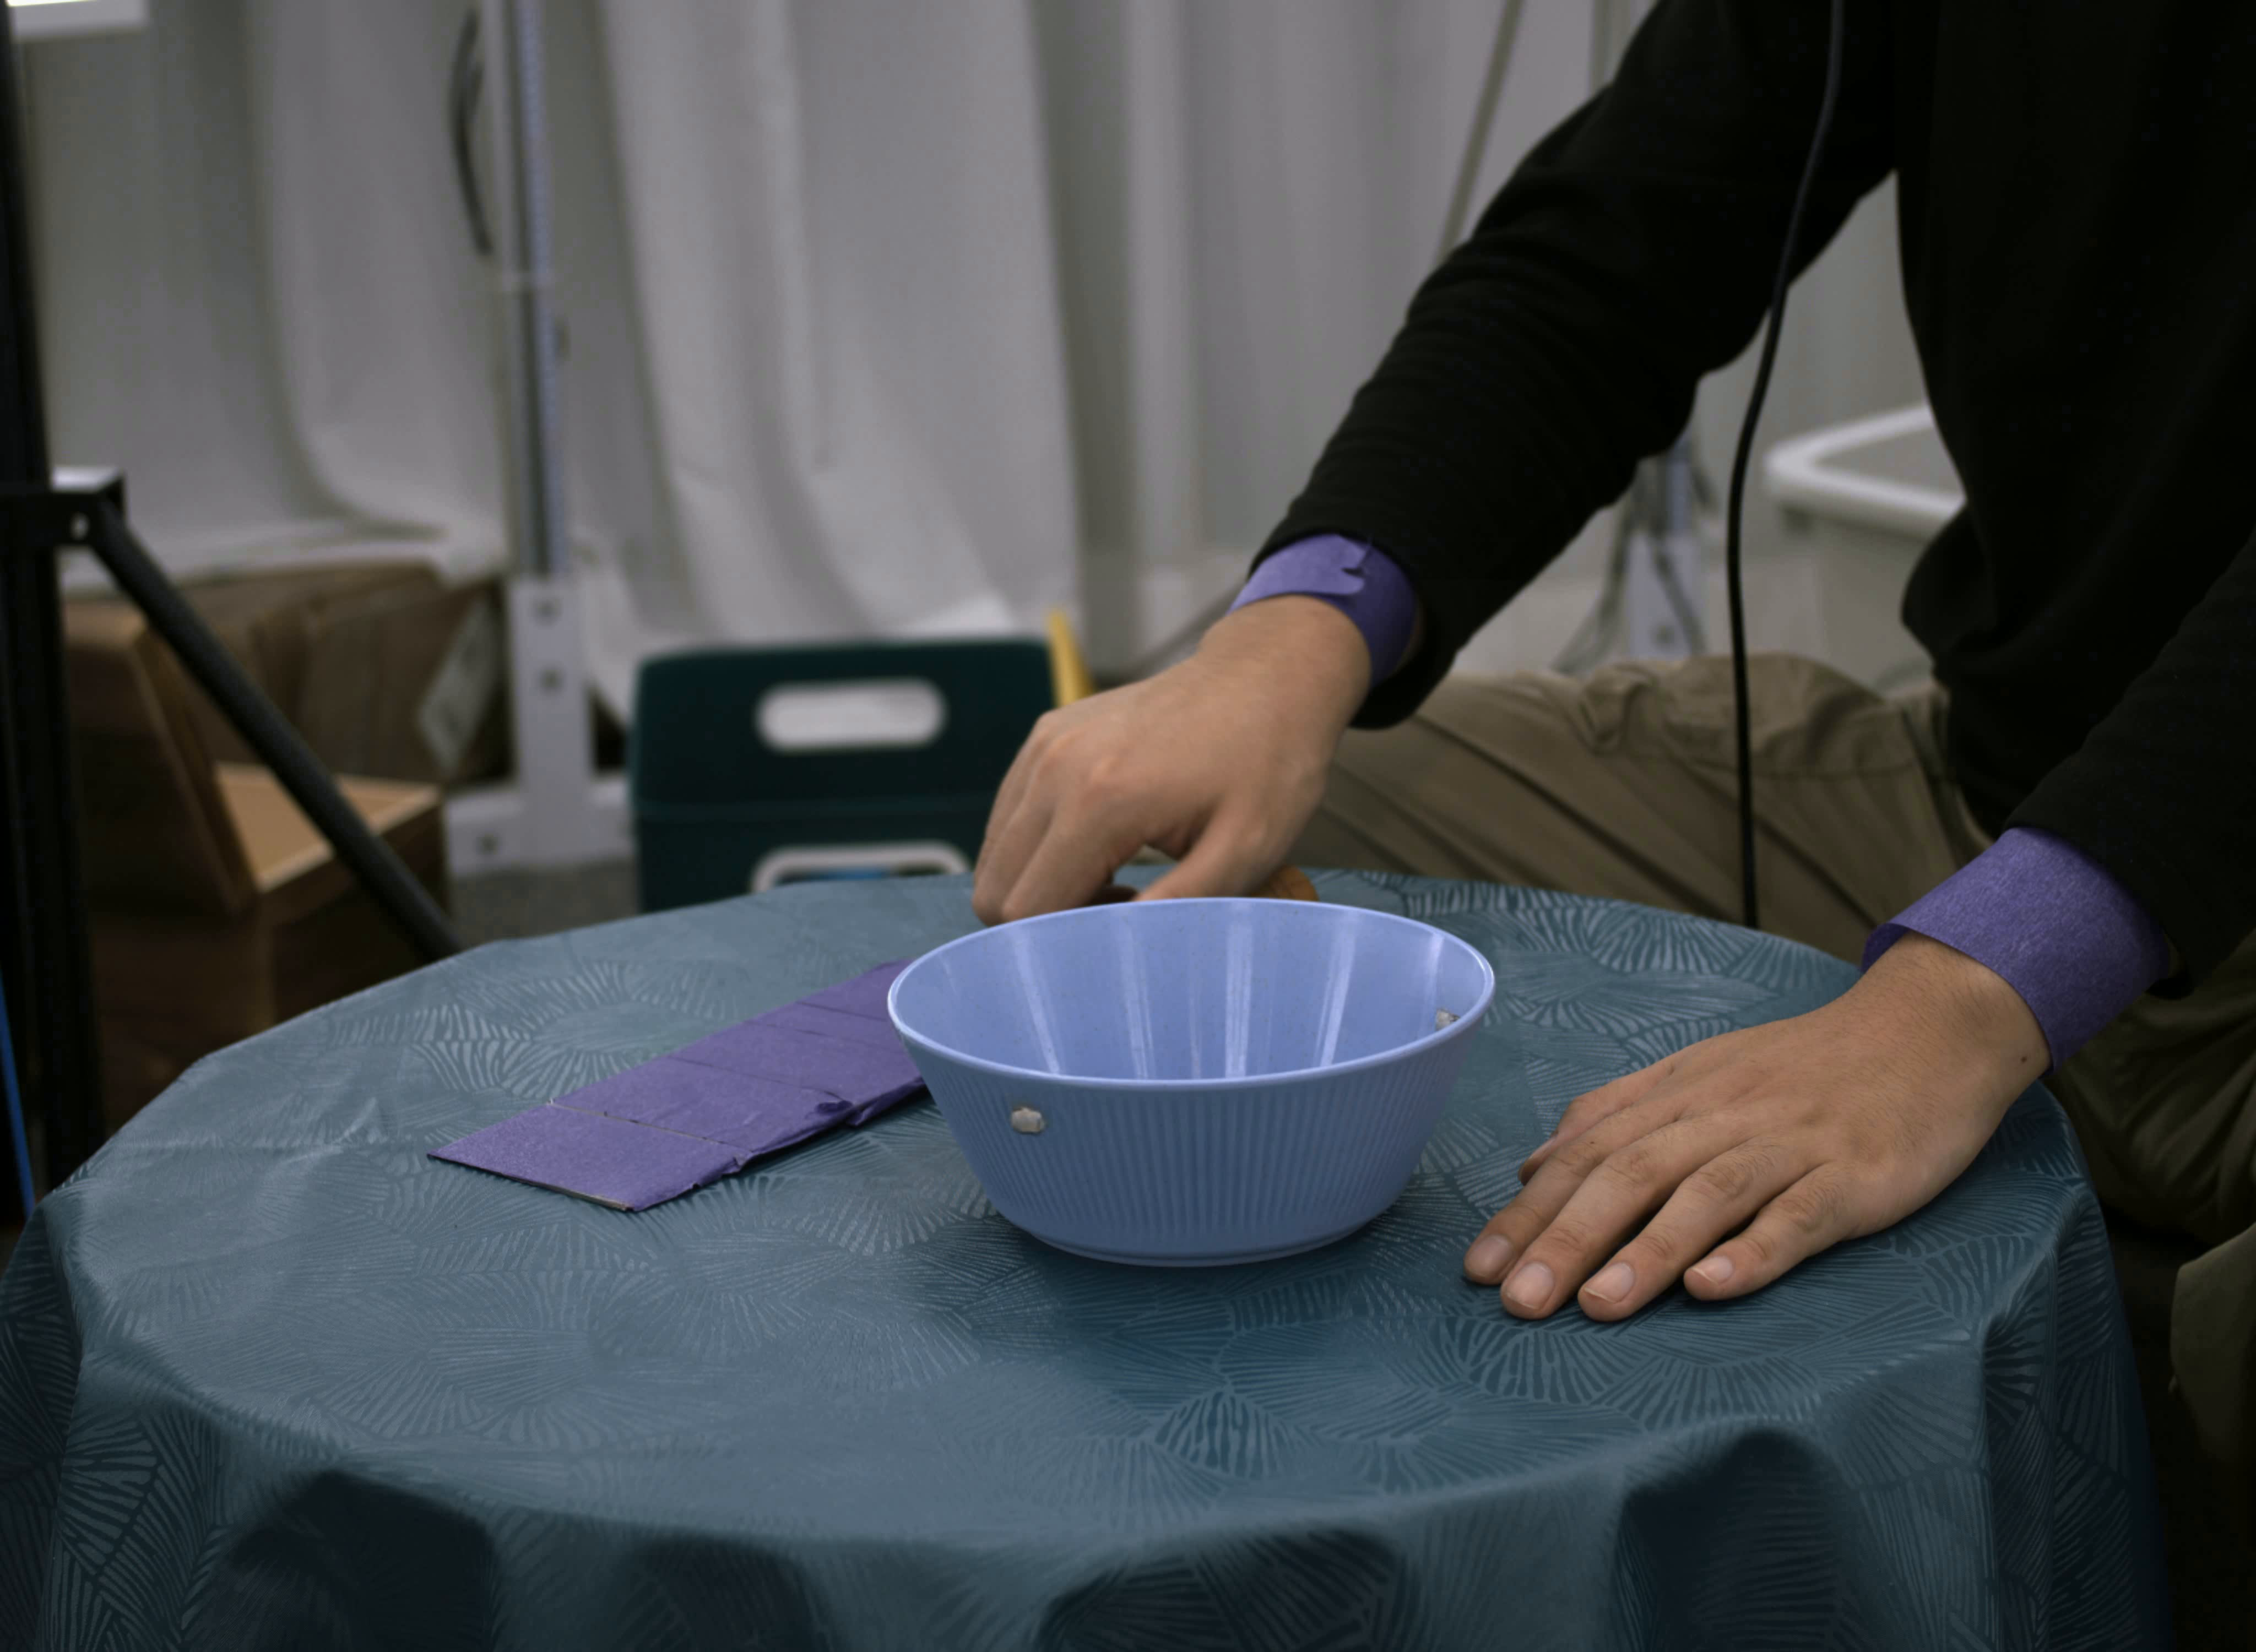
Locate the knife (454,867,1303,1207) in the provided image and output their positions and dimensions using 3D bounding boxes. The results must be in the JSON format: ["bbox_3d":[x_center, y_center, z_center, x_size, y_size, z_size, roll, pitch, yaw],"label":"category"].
[{"bbox_3d":[-0.076,0.060,1.687,0.106,0.032,0.308,12,22,41],"label":"knife"}]

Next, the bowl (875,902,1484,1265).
[{"bbox_3d":[0.015,0.077,1.534,0.175,0.070,0.177,-1,16,-1],"label":"bowl"}]
